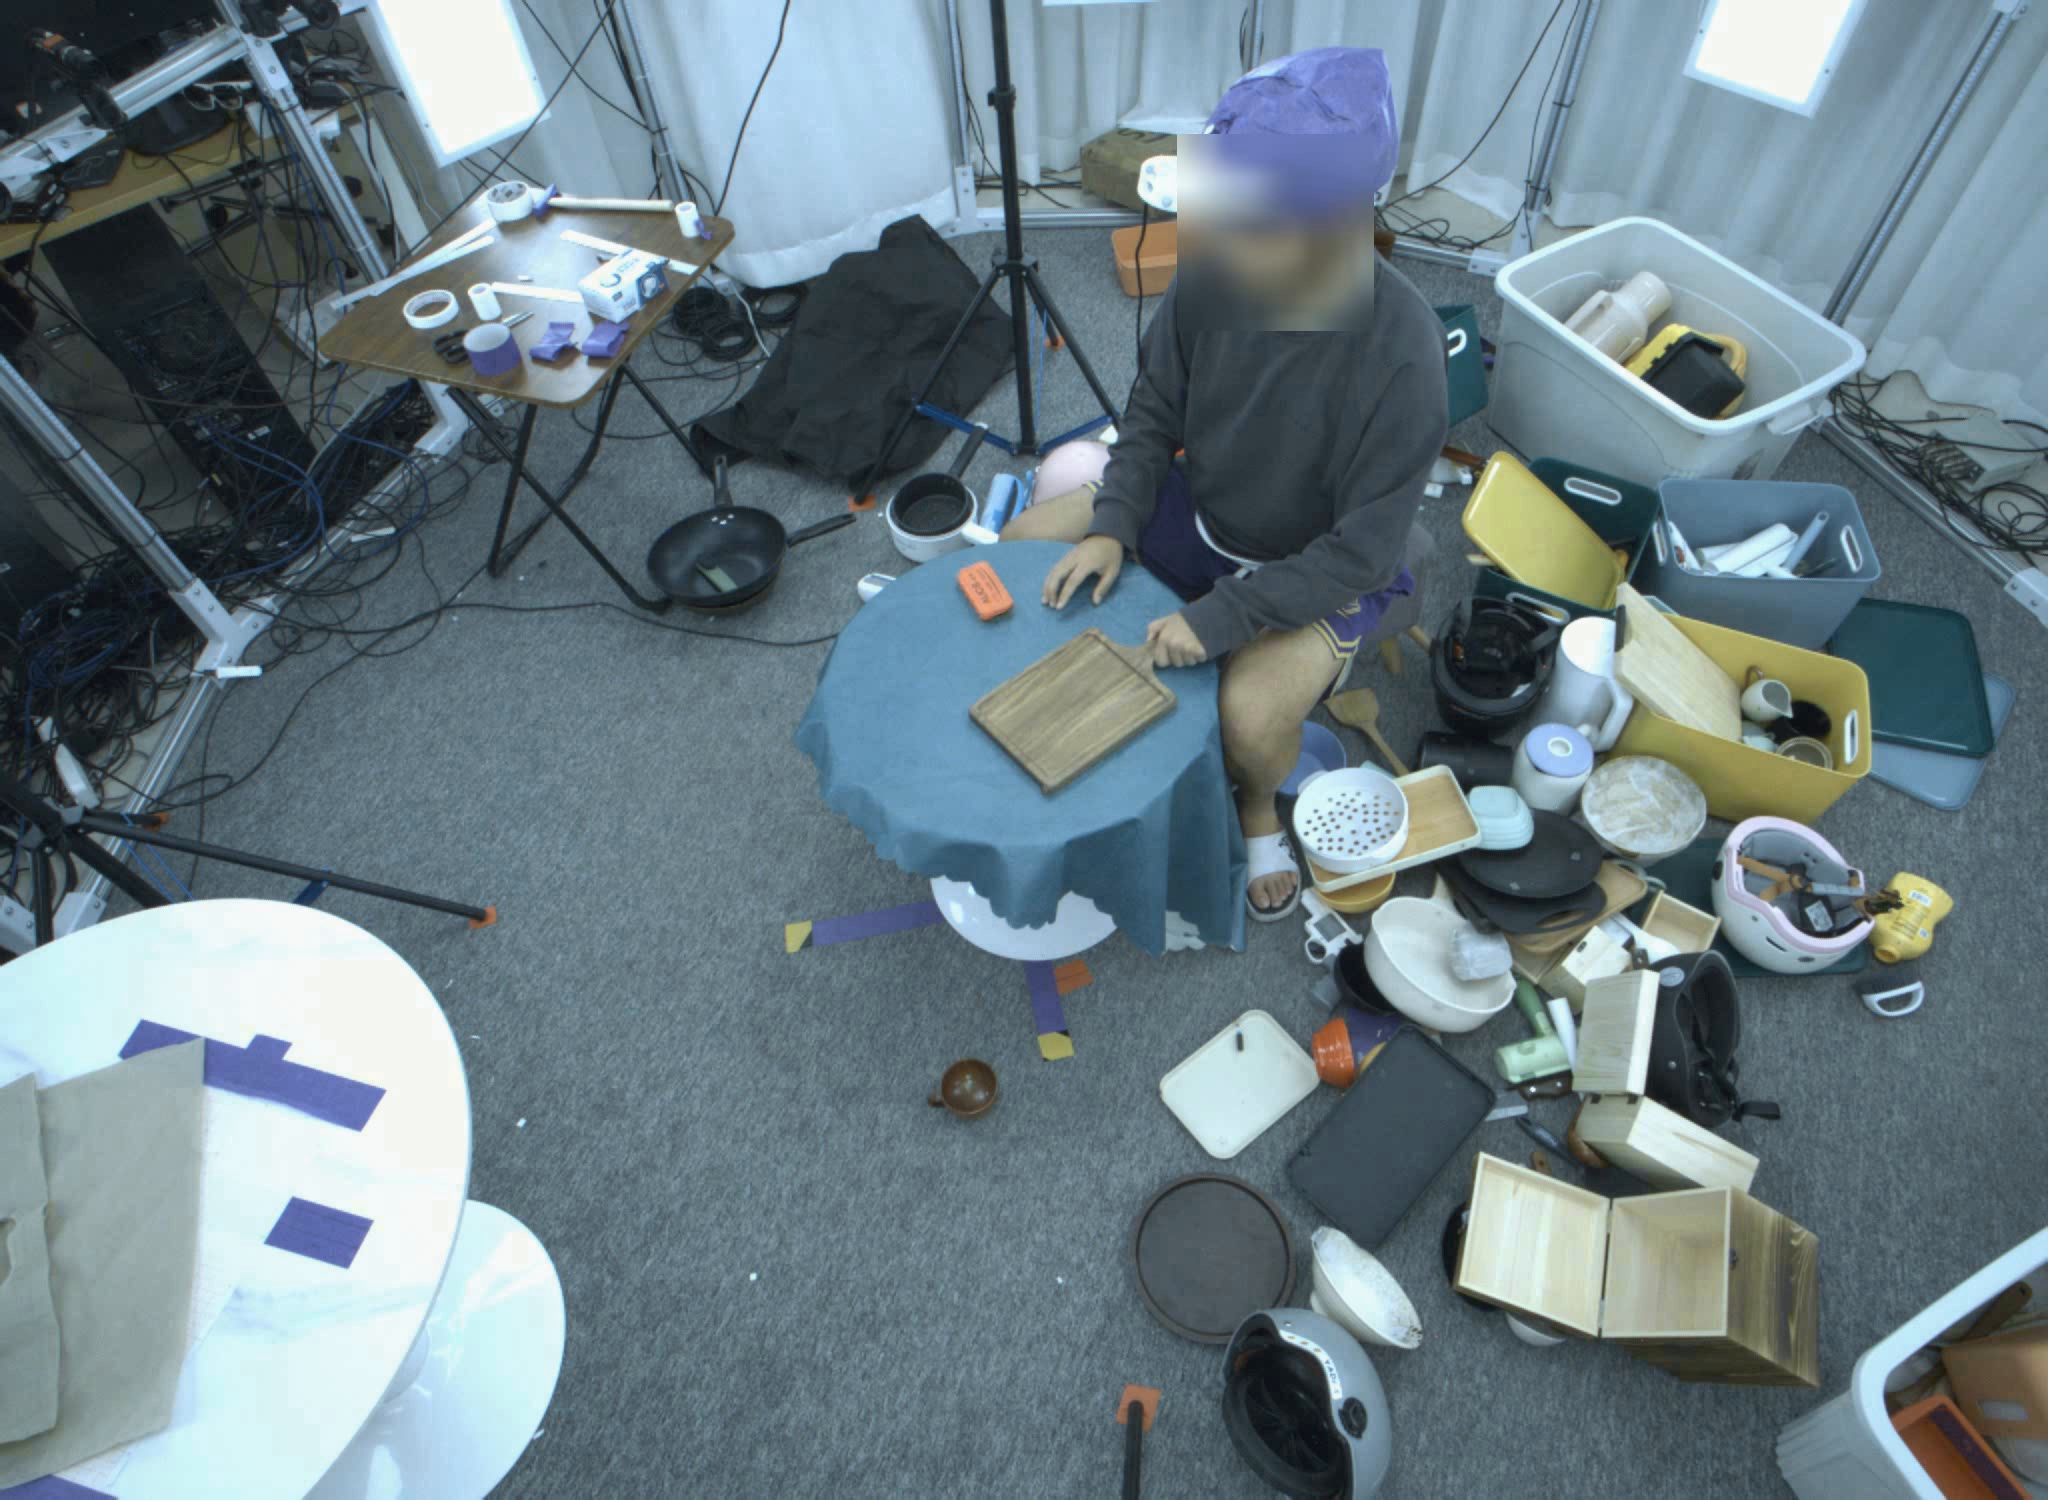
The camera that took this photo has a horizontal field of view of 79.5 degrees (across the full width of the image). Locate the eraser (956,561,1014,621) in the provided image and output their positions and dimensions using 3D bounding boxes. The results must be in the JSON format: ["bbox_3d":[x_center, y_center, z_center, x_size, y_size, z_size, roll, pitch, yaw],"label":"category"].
[{"bbox_3d":[-0.063,-0.254,1.954,0.059,0.023,0.106,-23,56,-14],"label":"eraser"}]

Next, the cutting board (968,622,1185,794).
[{"bbox_3d":[0.110,-0.091,1.838,0.355,0.023,0.197,-35,61,-21],"label":"cutting board"}]
